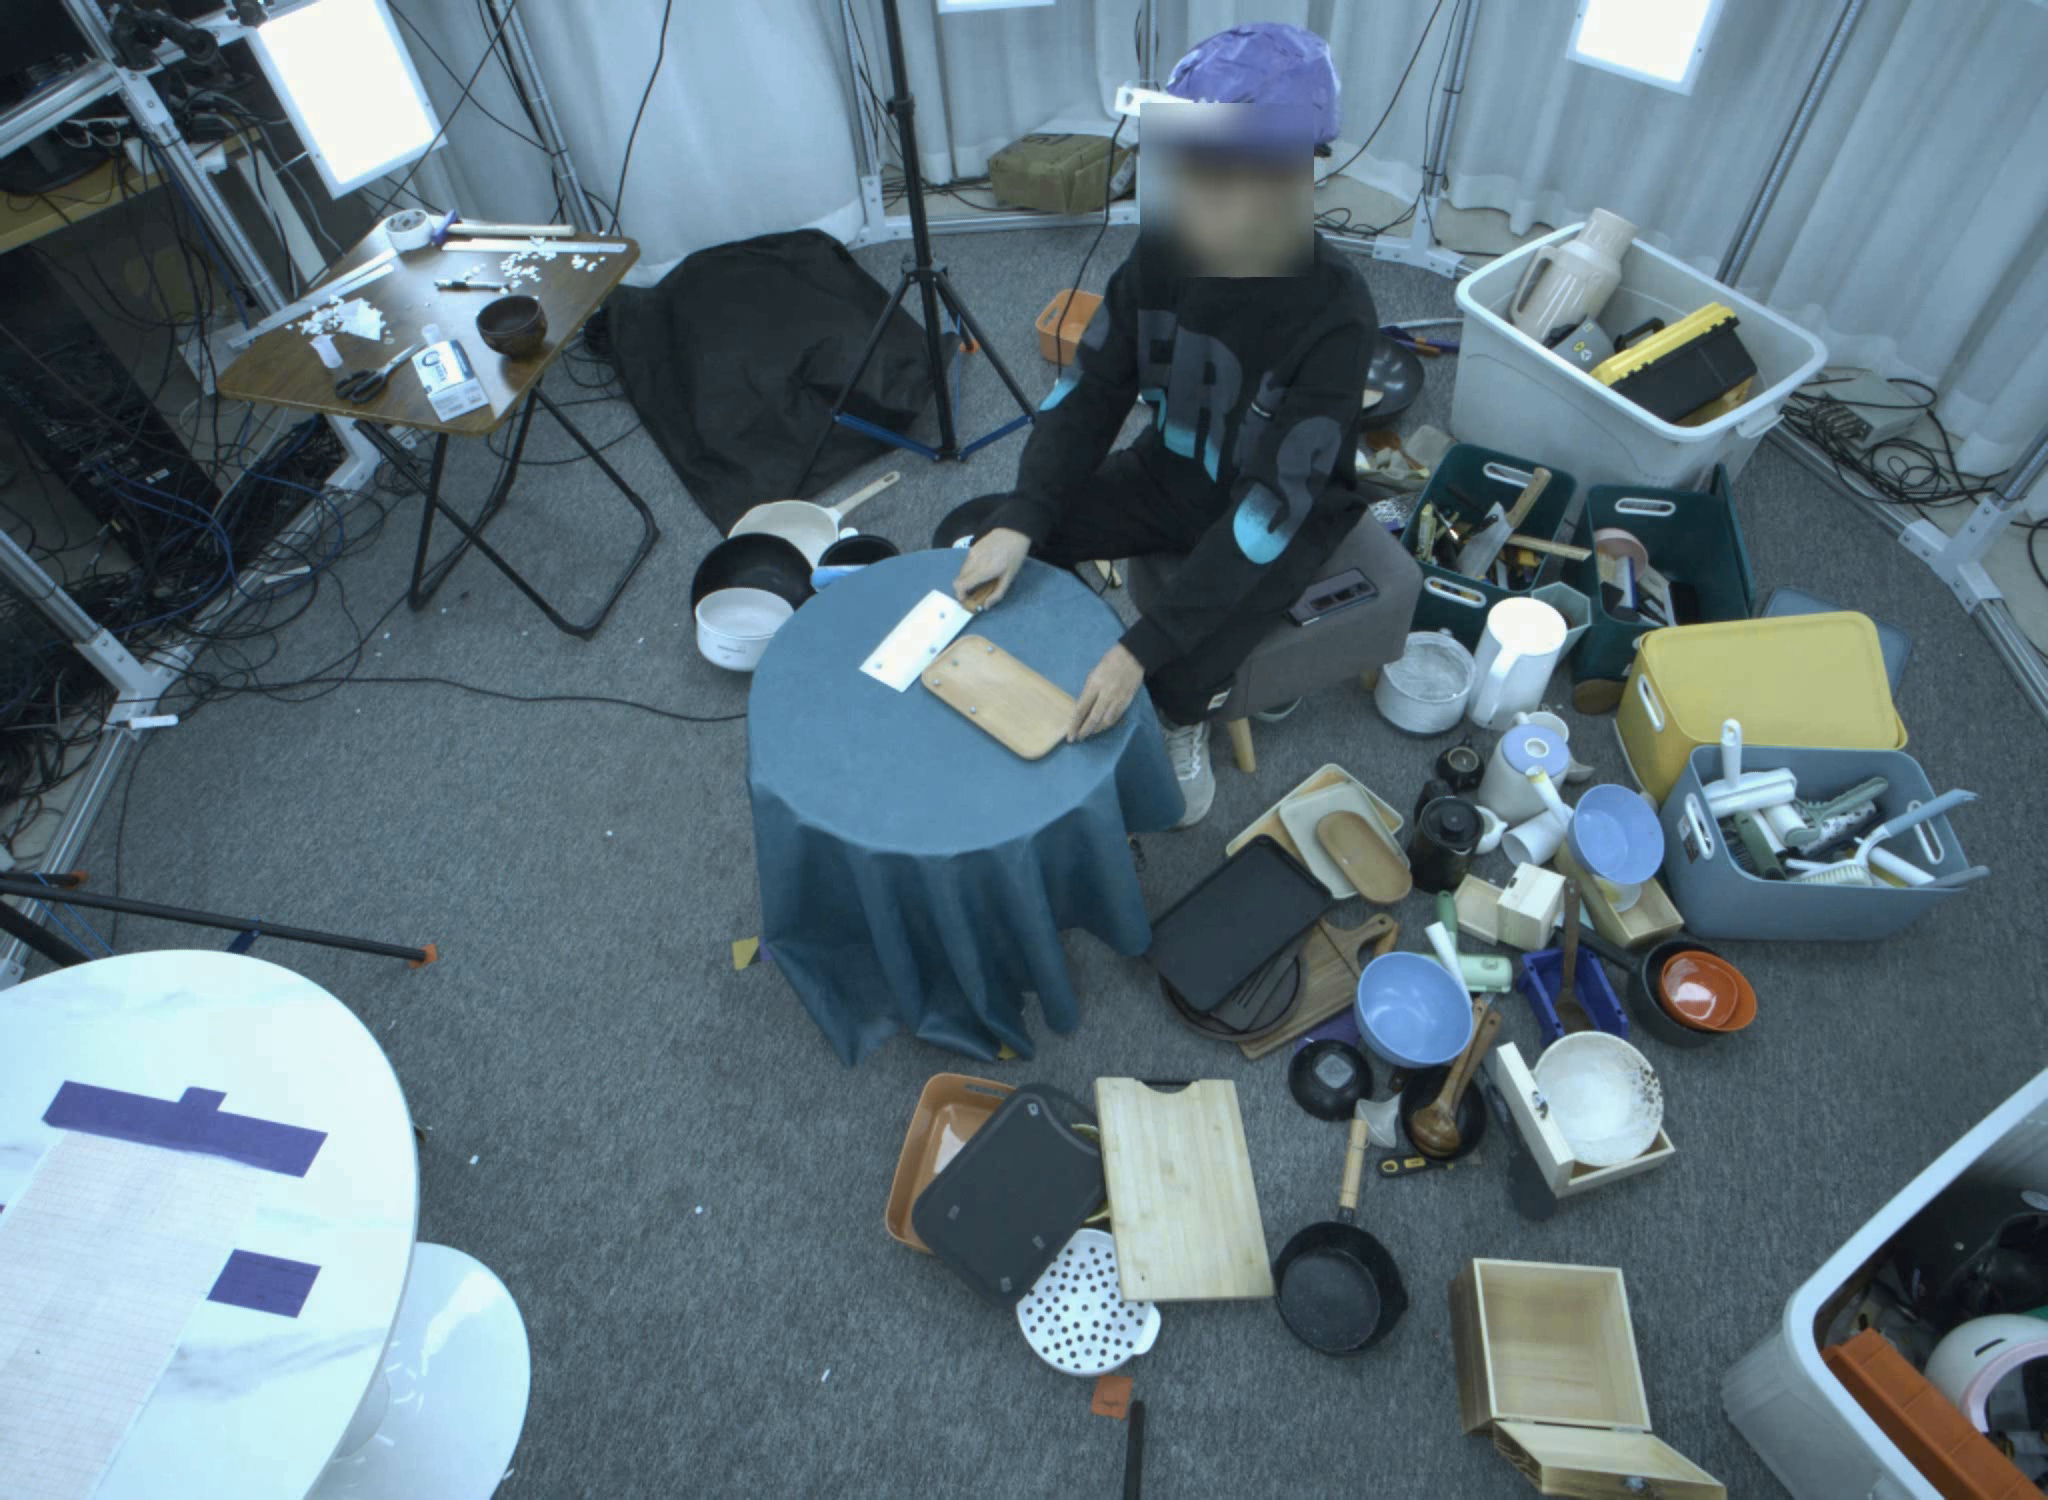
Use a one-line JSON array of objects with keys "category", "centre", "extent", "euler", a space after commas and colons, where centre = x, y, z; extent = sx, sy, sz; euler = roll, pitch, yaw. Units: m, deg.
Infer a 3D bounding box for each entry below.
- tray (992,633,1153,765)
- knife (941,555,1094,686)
[{"category": "tray", "centre": [0.070, -0.078, 1.830], "extent": [0.131, 0.023, 0.246], "euler": [-38, 63, -19]}, {"category": "knife", "centre": [-0.014, -0.216, 1.931], "extent": [0.091, 0.021, 0.307], "euler": [33, 65, 24]}]
